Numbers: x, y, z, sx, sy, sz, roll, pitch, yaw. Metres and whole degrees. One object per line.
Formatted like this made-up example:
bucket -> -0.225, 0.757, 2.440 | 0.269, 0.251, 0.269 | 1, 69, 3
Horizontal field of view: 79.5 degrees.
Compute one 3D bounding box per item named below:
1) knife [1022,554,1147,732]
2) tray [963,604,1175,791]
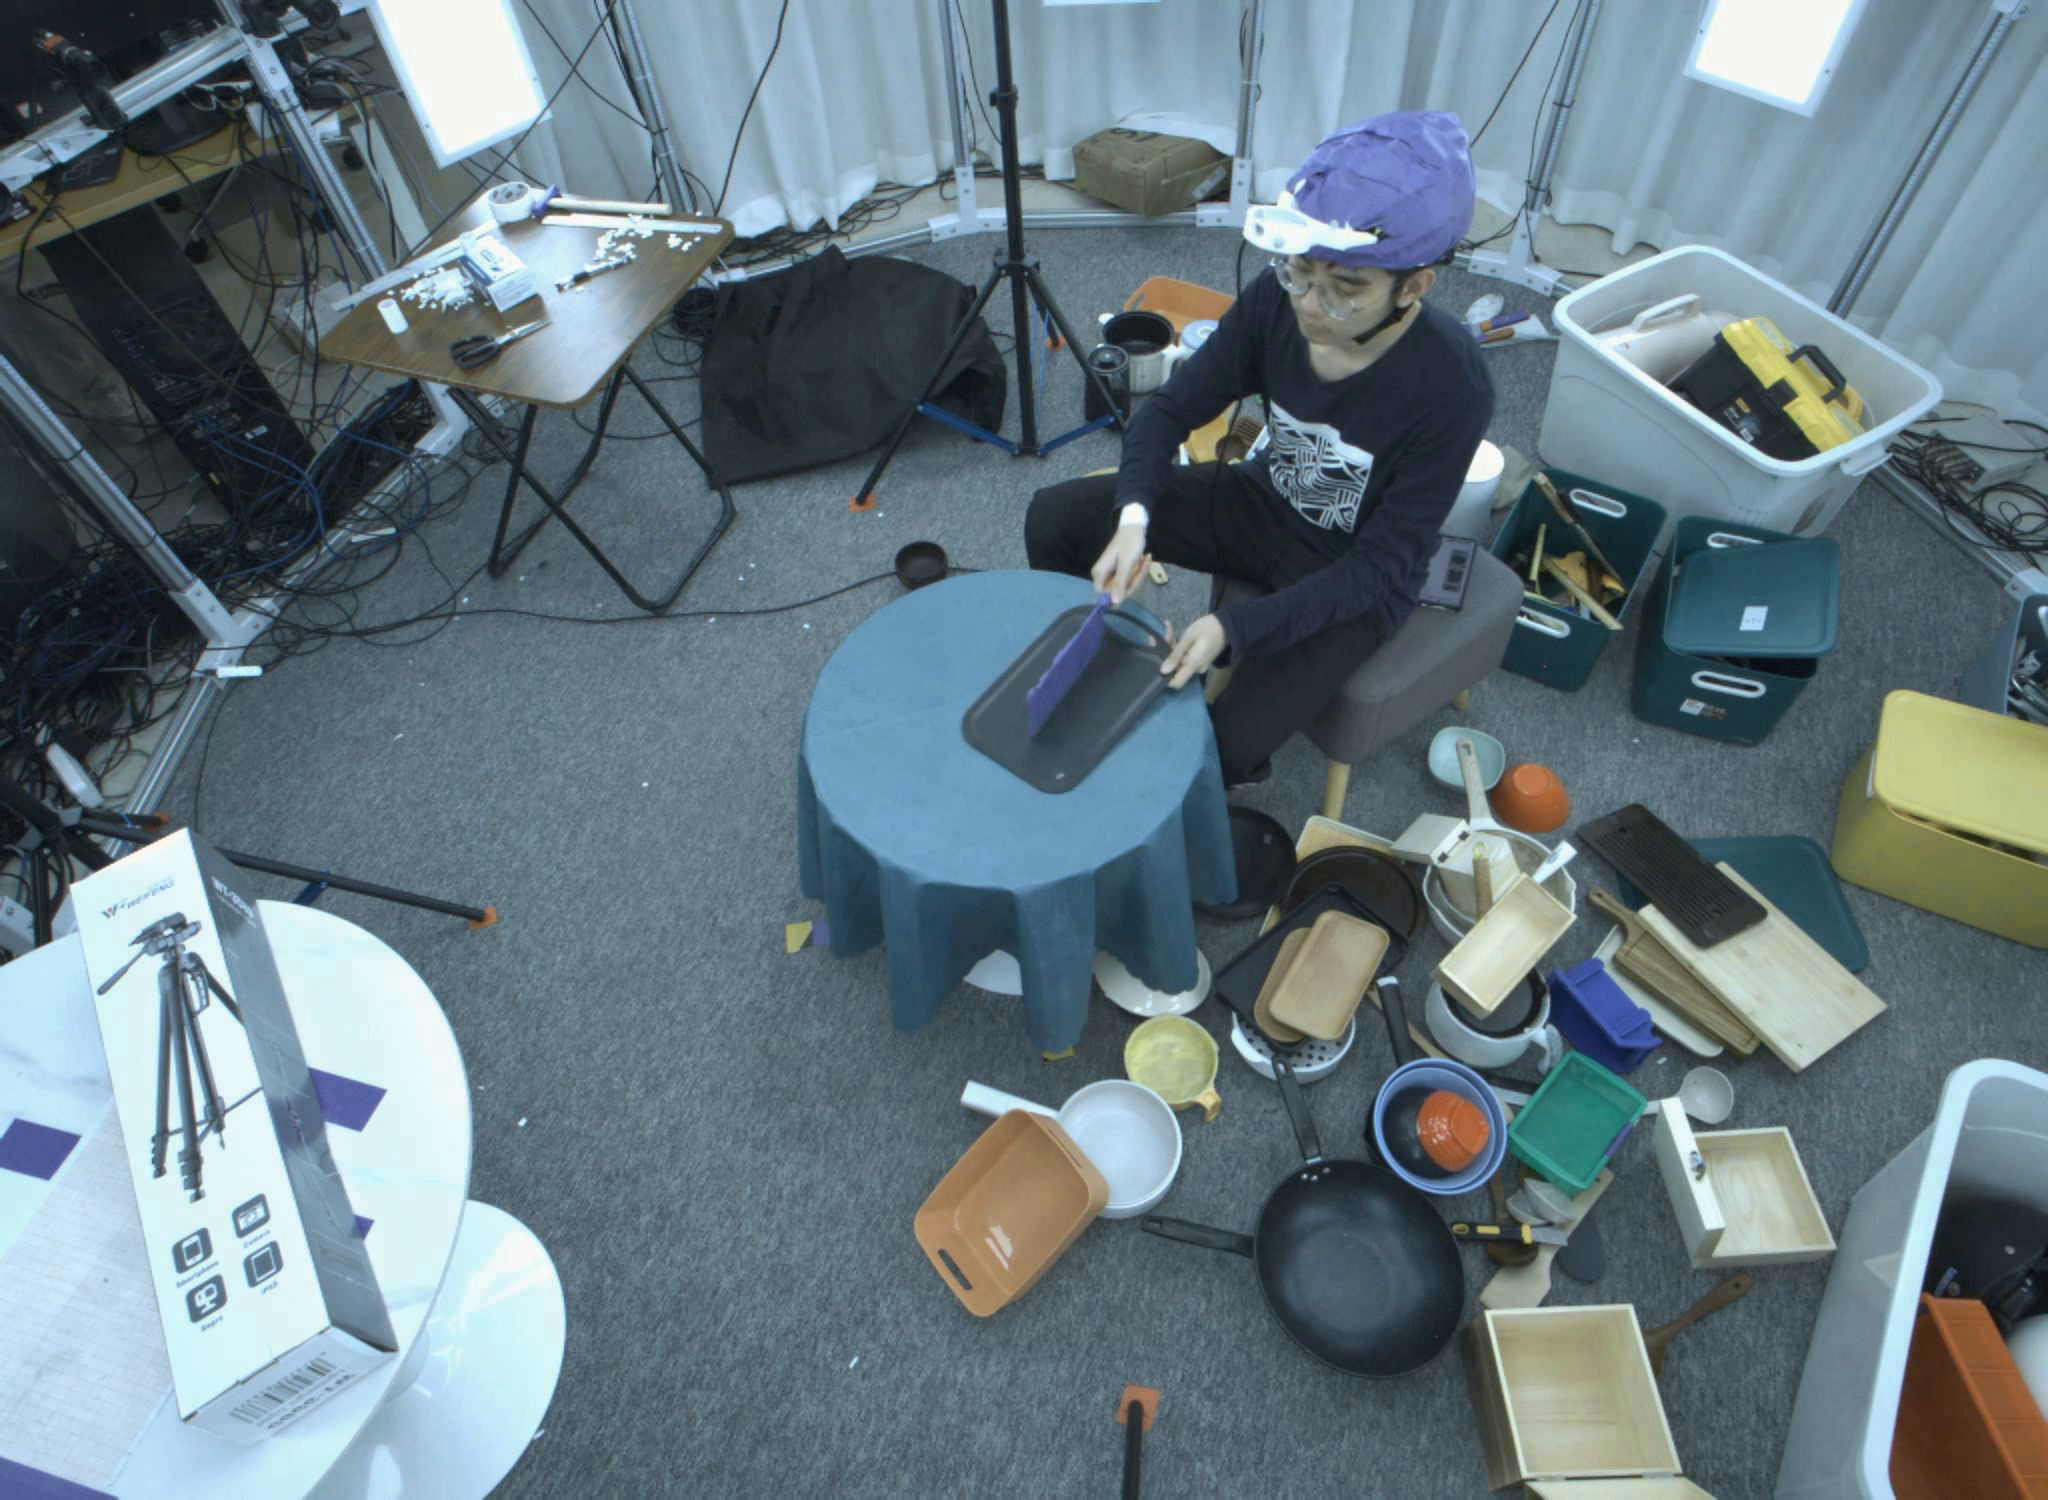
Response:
knife -> 0.086, -0.159, 1.815 | 0.032, 0.105, 0.316 | 30, 65, 18
tray -> 0.072, -0.091, 1.835 | 0.208, 0.010, 0.327 | 35, 67, 21
